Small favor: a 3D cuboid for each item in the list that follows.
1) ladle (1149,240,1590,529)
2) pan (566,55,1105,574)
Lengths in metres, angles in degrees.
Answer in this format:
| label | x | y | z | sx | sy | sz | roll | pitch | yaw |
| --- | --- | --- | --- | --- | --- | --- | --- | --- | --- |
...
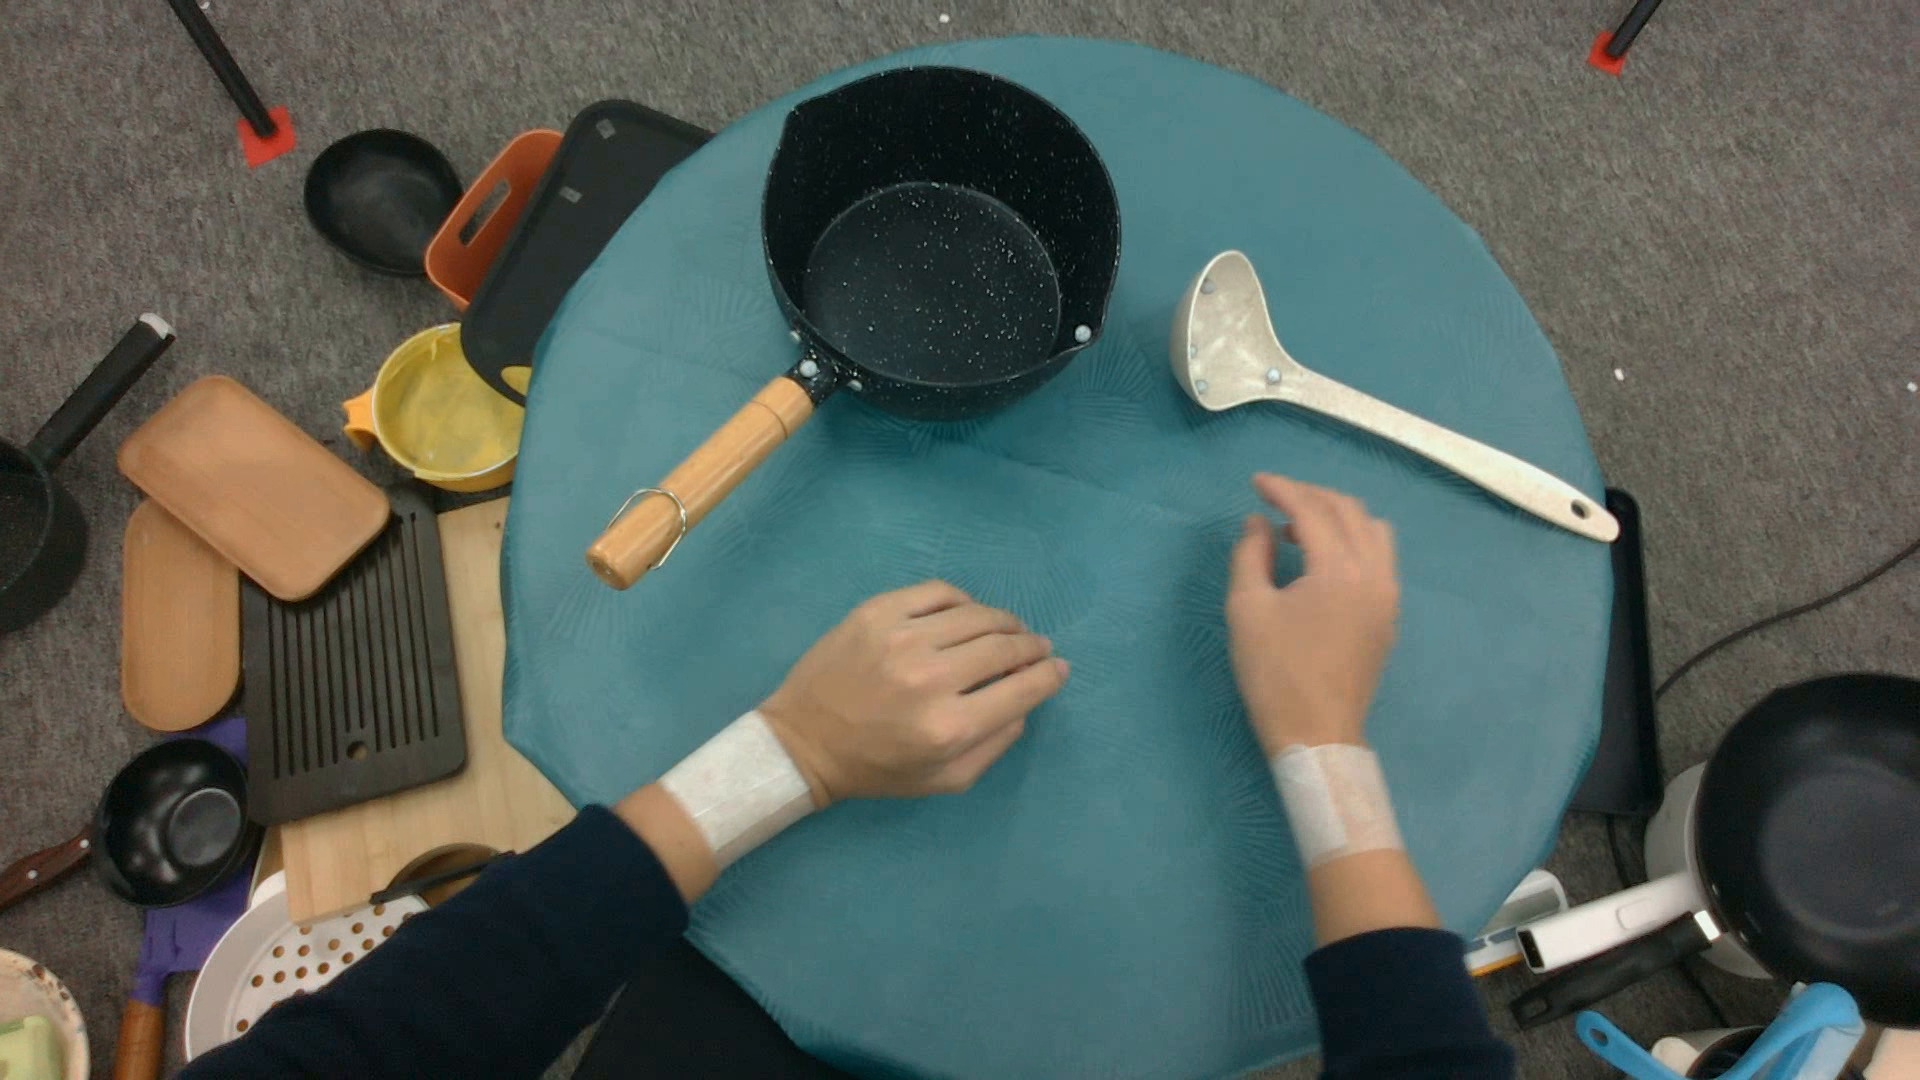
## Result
| label | x | y | z | sx | sy | sz | roll | pitch | yaw |
| --- | --- | --- | --- | --- | --- | --- | --- | --- | --- |
| ladle | 0.232 | -0.077 | 0.749 | 0.275 | 0.069 | 0.090 | 23 | 64 | 2 |
| pan | -0.067 | -0.100 | 0.702 | 0.207 | 0.108 | 0.344 | 36 | 70 | 5 |
